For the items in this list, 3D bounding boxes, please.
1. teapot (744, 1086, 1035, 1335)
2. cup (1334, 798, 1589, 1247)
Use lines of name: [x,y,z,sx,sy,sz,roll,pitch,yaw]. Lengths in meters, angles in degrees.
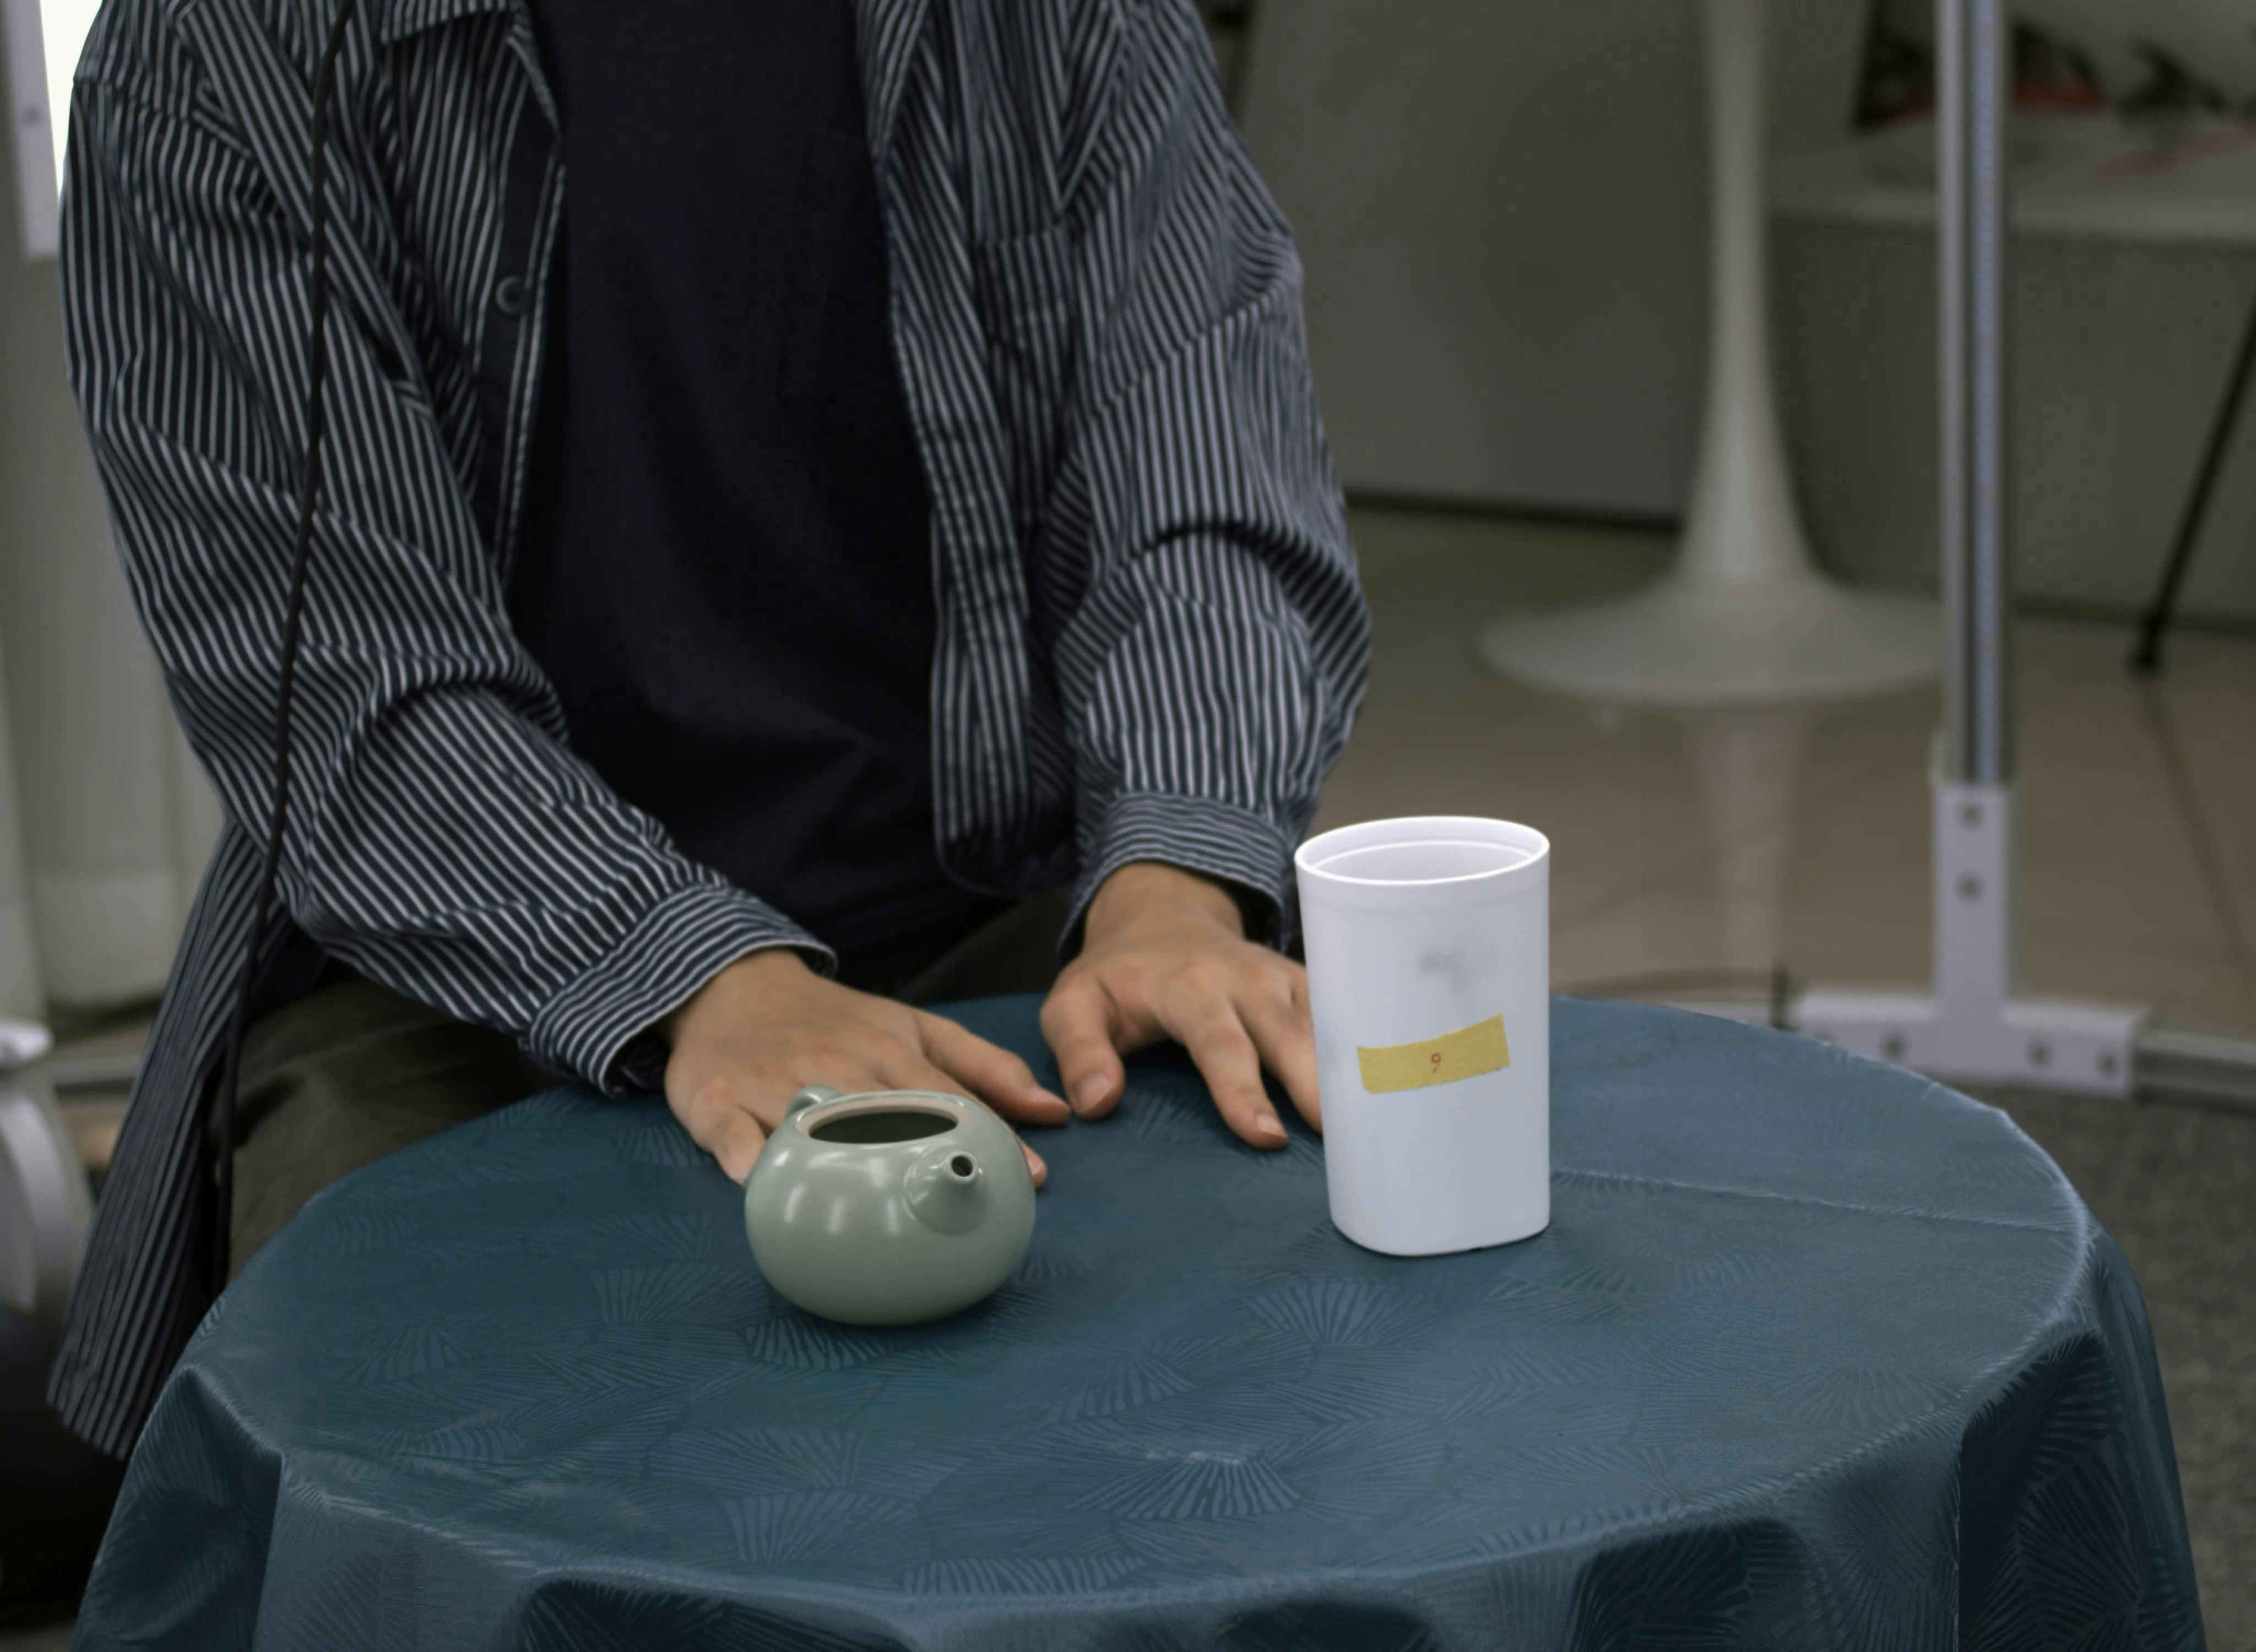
teapot: [-0.078,0.118,1.681,0.089,0.061,0.130,-12,15,-22]
cup: [0.108,0.062,1.701,0.080,0.127,0.082,-4,14,0]
